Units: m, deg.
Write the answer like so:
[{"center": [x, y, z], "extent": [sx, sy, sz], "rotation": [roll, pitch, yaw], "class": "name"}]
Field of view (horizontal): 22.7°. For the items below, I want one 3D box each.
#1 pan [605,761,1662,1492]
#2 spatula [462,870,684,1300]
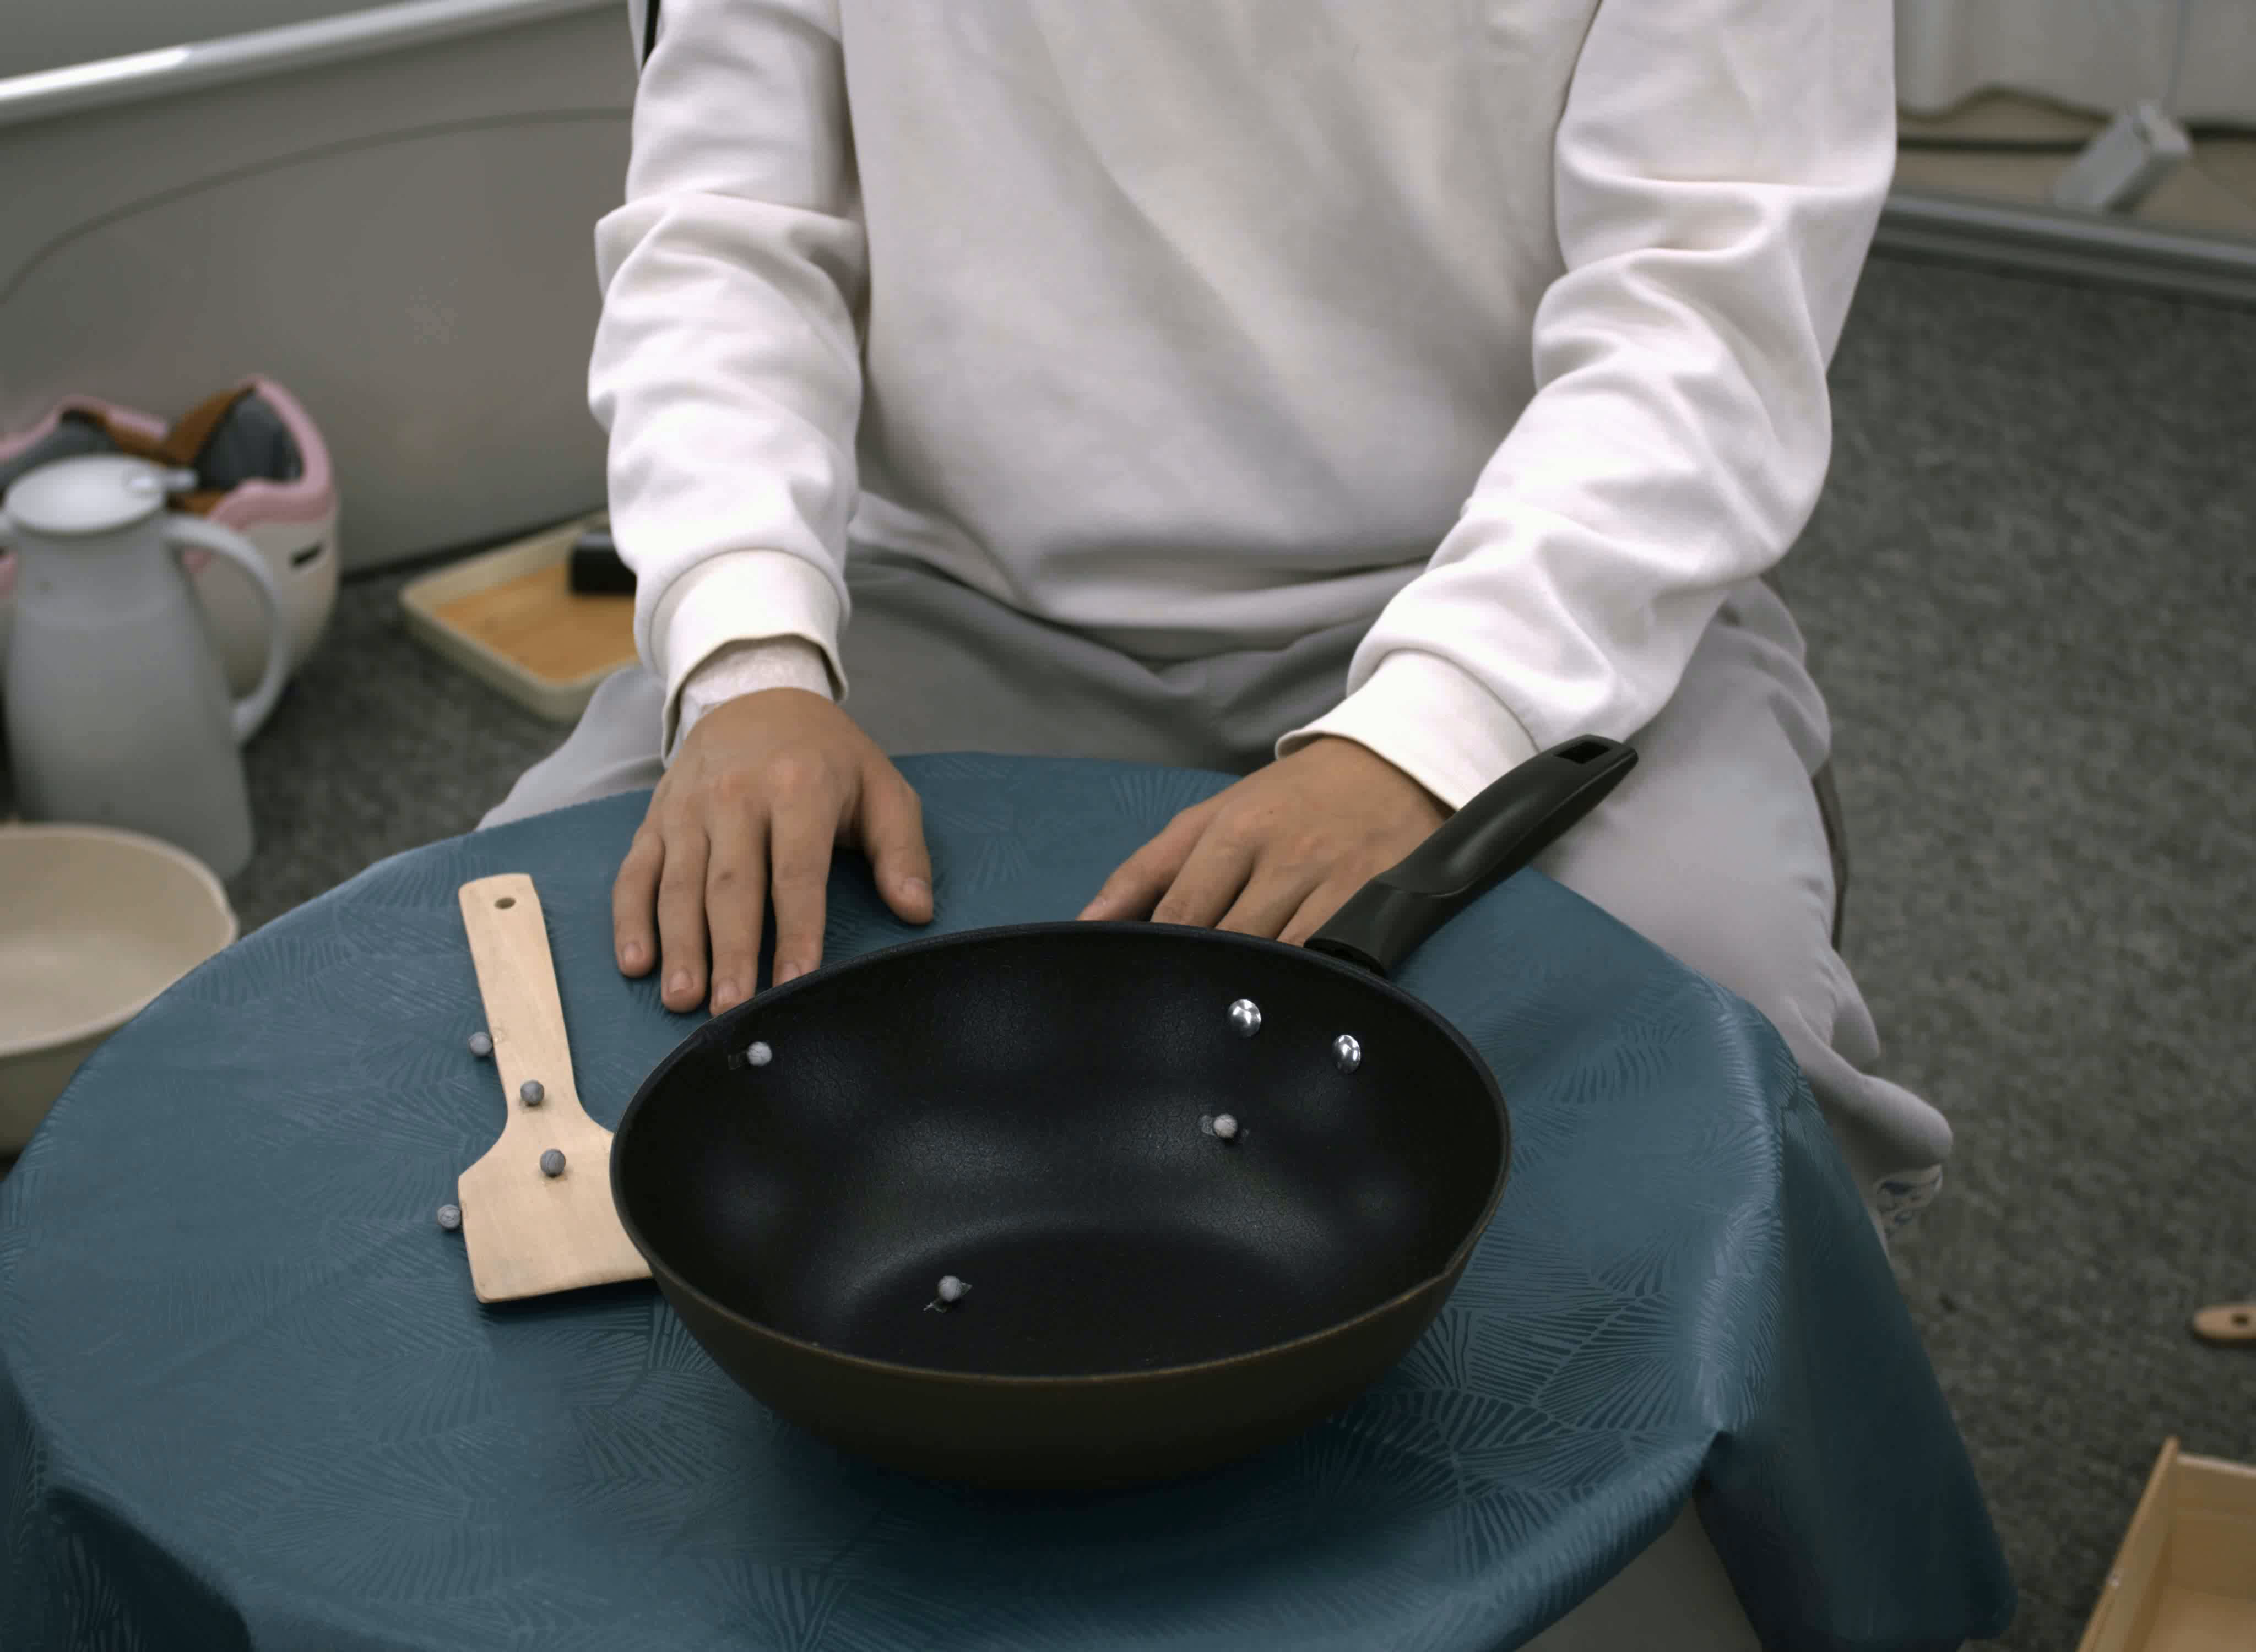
[{"center": [0.034, 0.095, 1.824], "extent": [0.287, 0.086, 0.470], "rotation": [17, 31, 33], "class": "pan"}, {"center": [-0.204, 0.085, 1.943], "extent": [0.072, 0.010, 0.296], "rotation": [-9, 28, -9], "class": "spatula"}]
